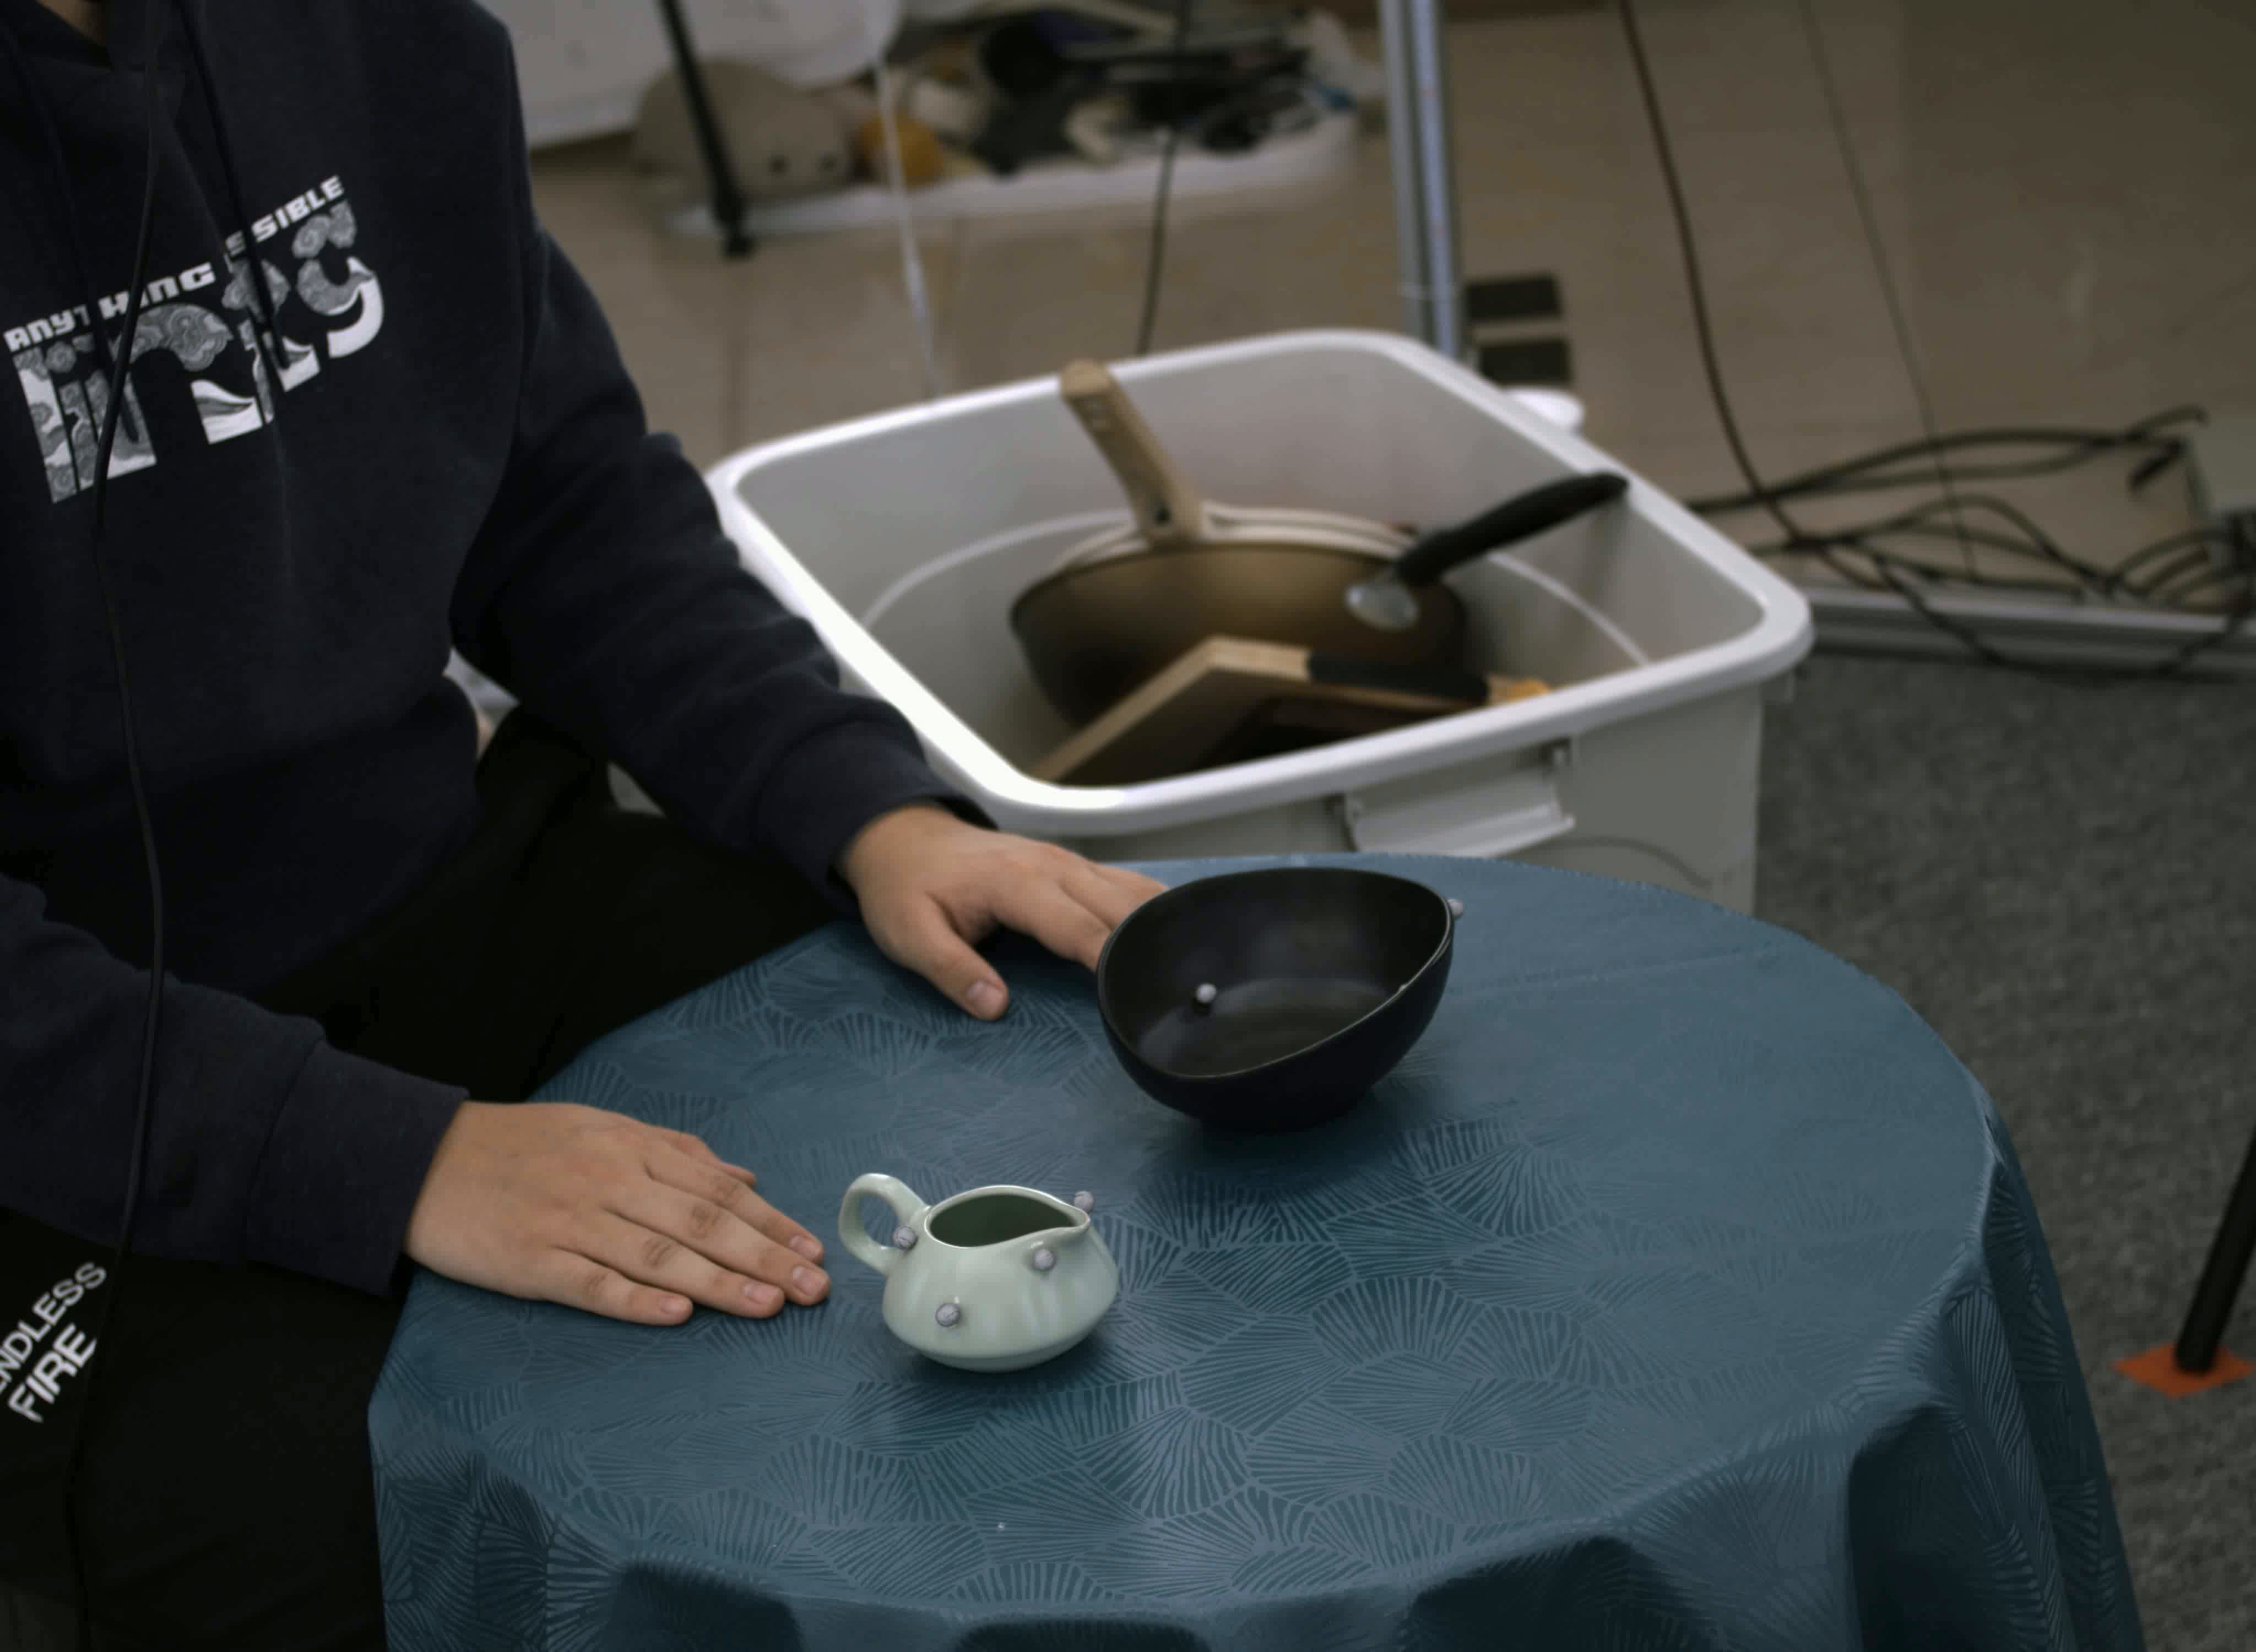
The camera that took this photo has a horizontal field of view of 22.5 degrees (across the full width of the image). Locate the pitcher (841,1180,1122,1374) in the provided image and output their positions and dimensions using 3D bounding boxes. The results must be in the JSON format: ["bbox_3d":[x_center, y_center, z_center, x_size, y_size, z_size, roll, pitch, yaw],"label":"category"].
[{"bbox_3d":[-0.056,0.160,2.049,0.107,0.061,0.085,5,26,29],"label":"pitcher"}]

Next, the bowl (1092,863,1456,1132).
[{"bbox_3d":[0.059,0.074,2.198,0.137,0.068,0.168,3,27,21],"label":"bowl"}]
